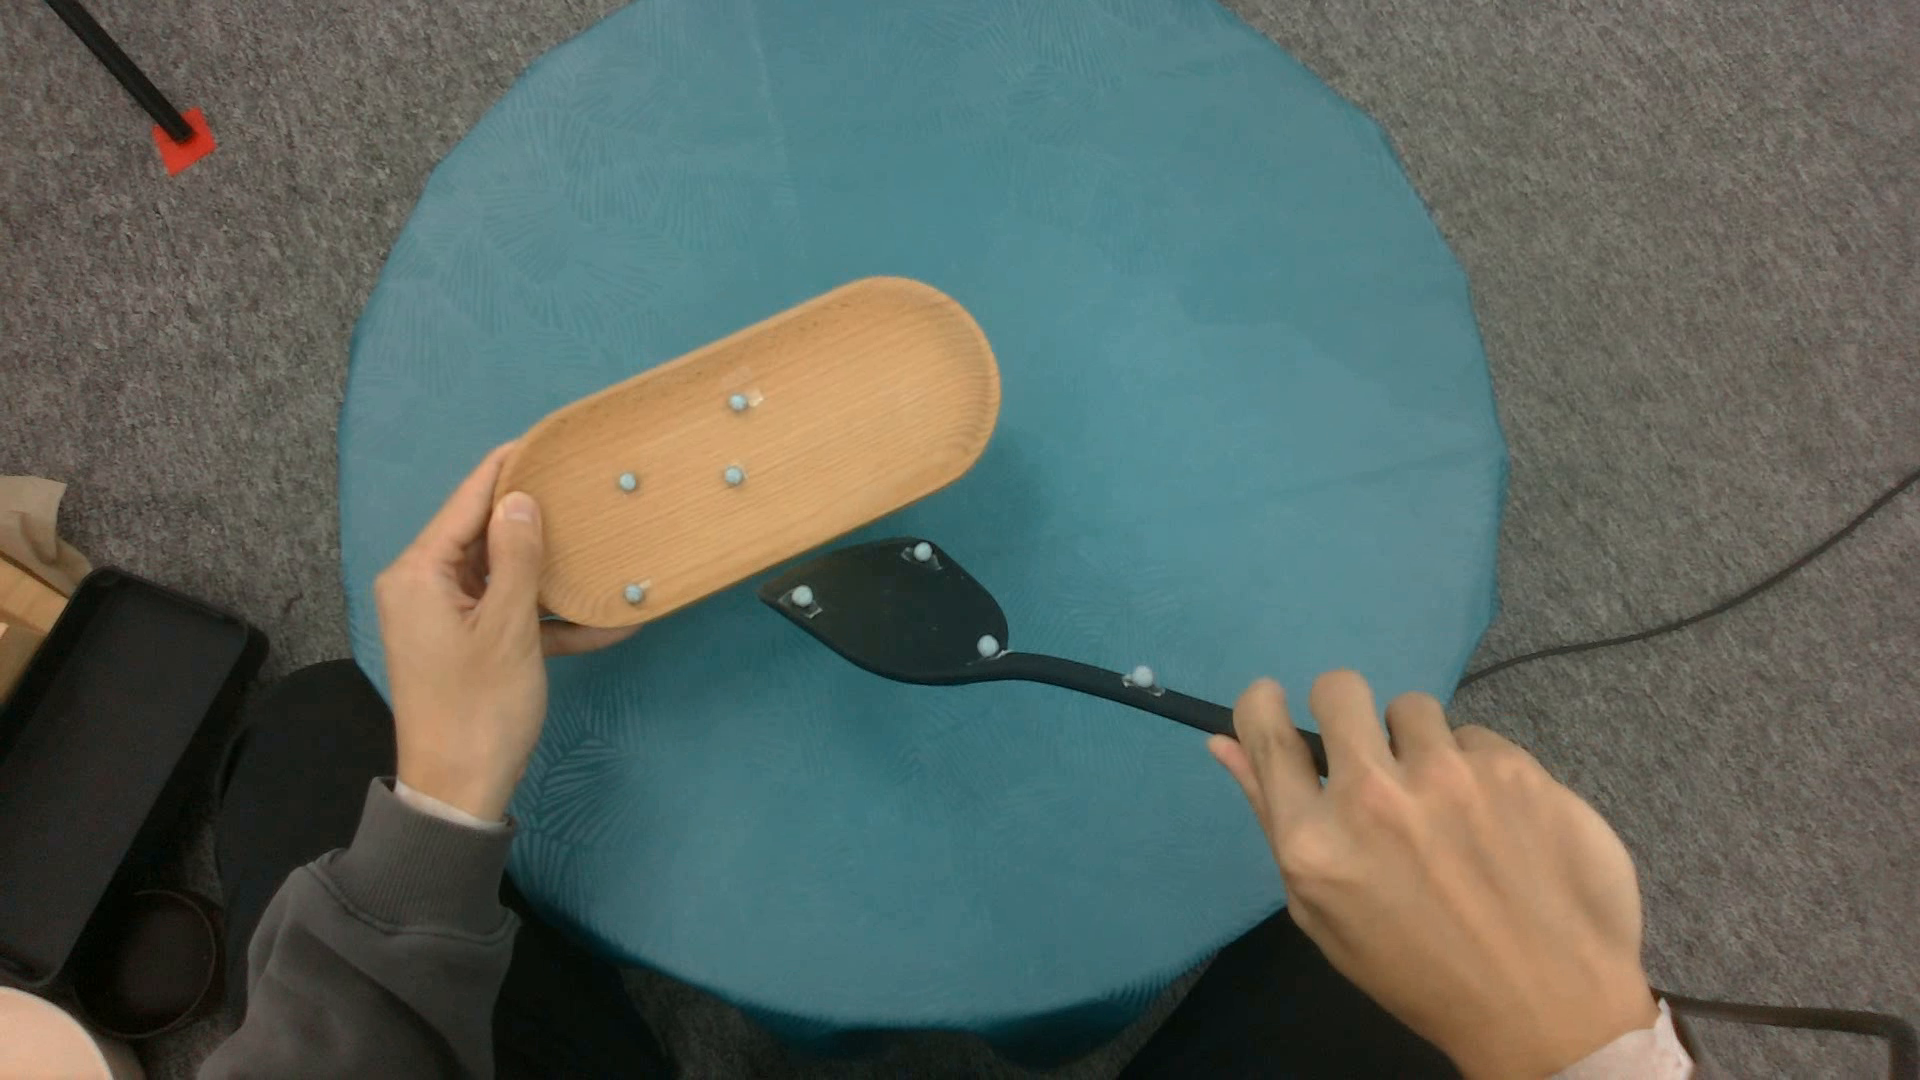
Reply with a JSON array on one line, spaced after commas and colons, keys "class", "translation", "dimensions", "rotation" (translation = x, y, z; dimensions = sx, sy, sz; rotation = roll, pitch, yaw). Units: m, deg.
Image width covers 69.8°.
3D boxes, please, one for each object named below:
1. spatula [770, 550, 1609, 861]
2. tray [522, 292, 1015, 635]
[{"class": "spatula", "translation": [0.070, 0.056, 0.513], "dimensions": [0.325, 0.100, 0.040], "rotation": [11, 113, 39]}, {"class": "tray", "translation": [-0.085, -0.035, 0.624], "dimensions": [0.231, 0.020, 0.102], "rotation": [-25, 84, -6]}]
